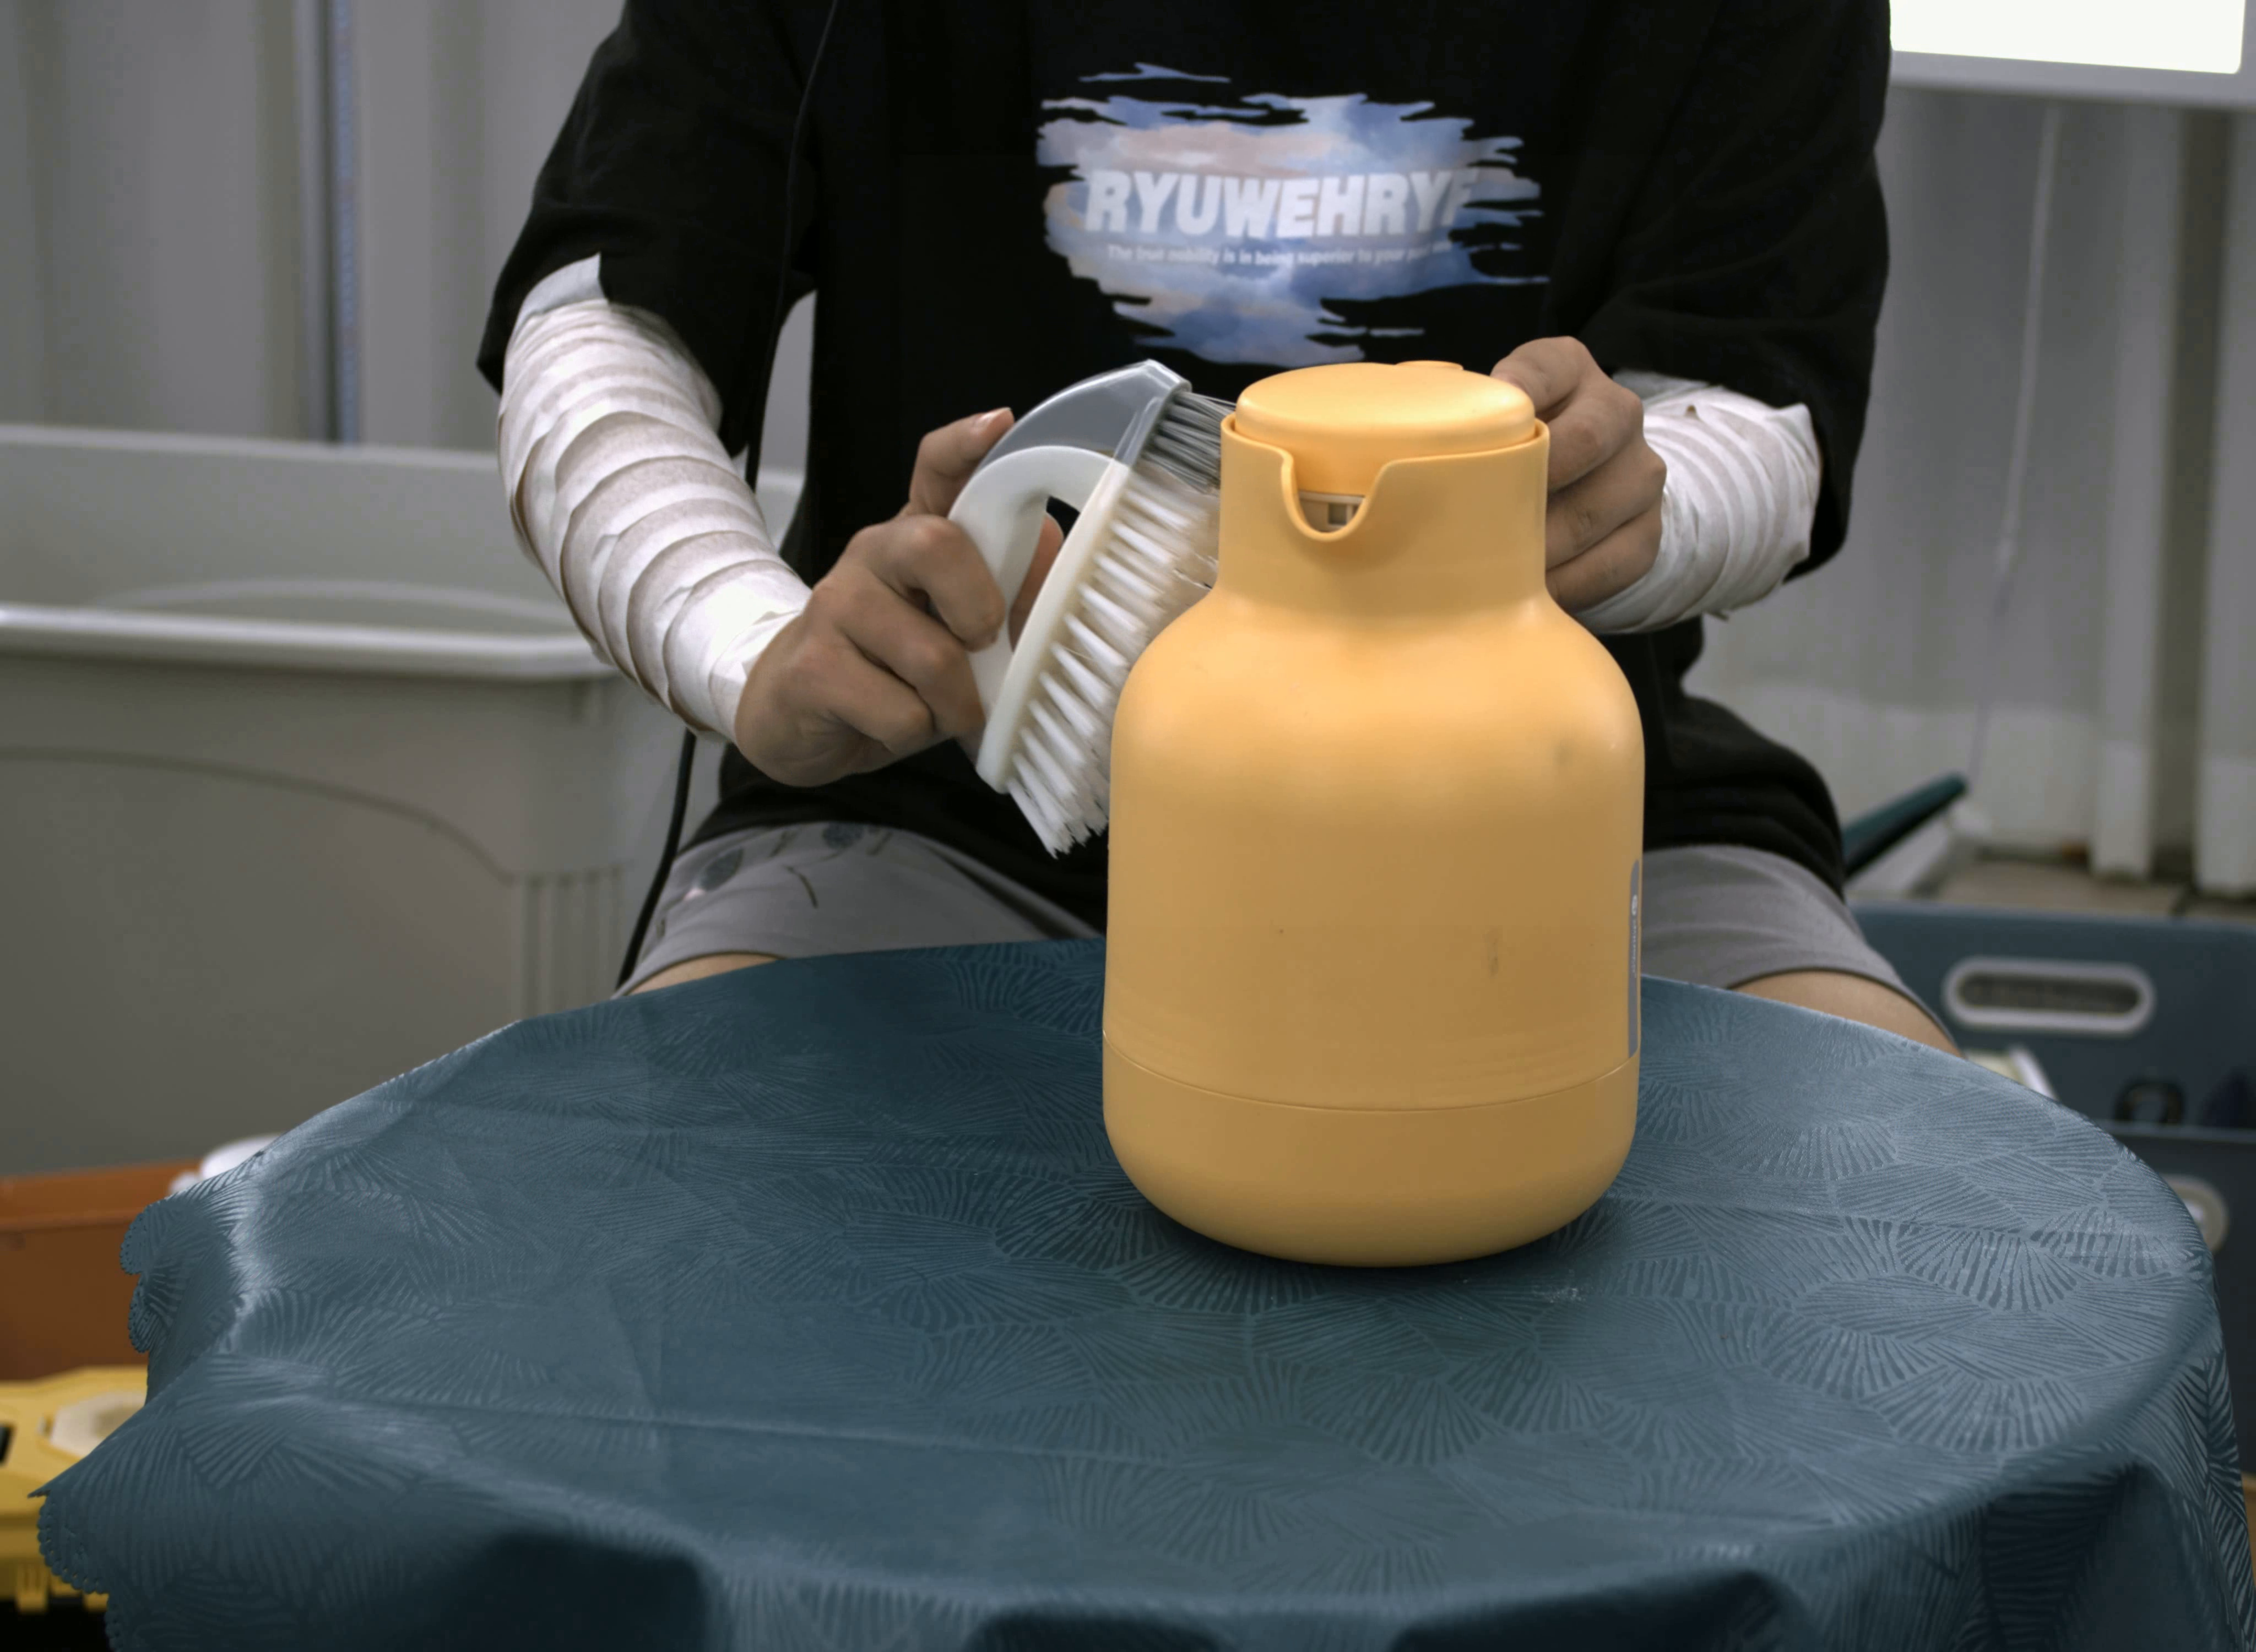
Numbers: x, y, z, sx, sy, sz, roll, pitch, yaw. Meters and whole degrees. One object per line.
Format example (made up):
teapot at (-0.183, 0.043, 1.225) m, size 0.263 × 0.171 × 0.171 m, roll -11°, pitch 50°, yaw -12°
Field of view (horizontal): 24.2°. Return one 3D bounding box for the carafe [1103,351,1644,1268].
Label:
carafe at (0.082, -0.013, 1.593) m, size 0.162 × 0.262 × 0.202 m, roll 7°, pitch 18°, yaw 17°

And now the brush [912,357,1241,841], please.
brush at (-0.016, -0.087, 1.642) m, size 0.093 × 0.176 × 0.061 m, roll 39°, pitch 45°, yaw 14°
